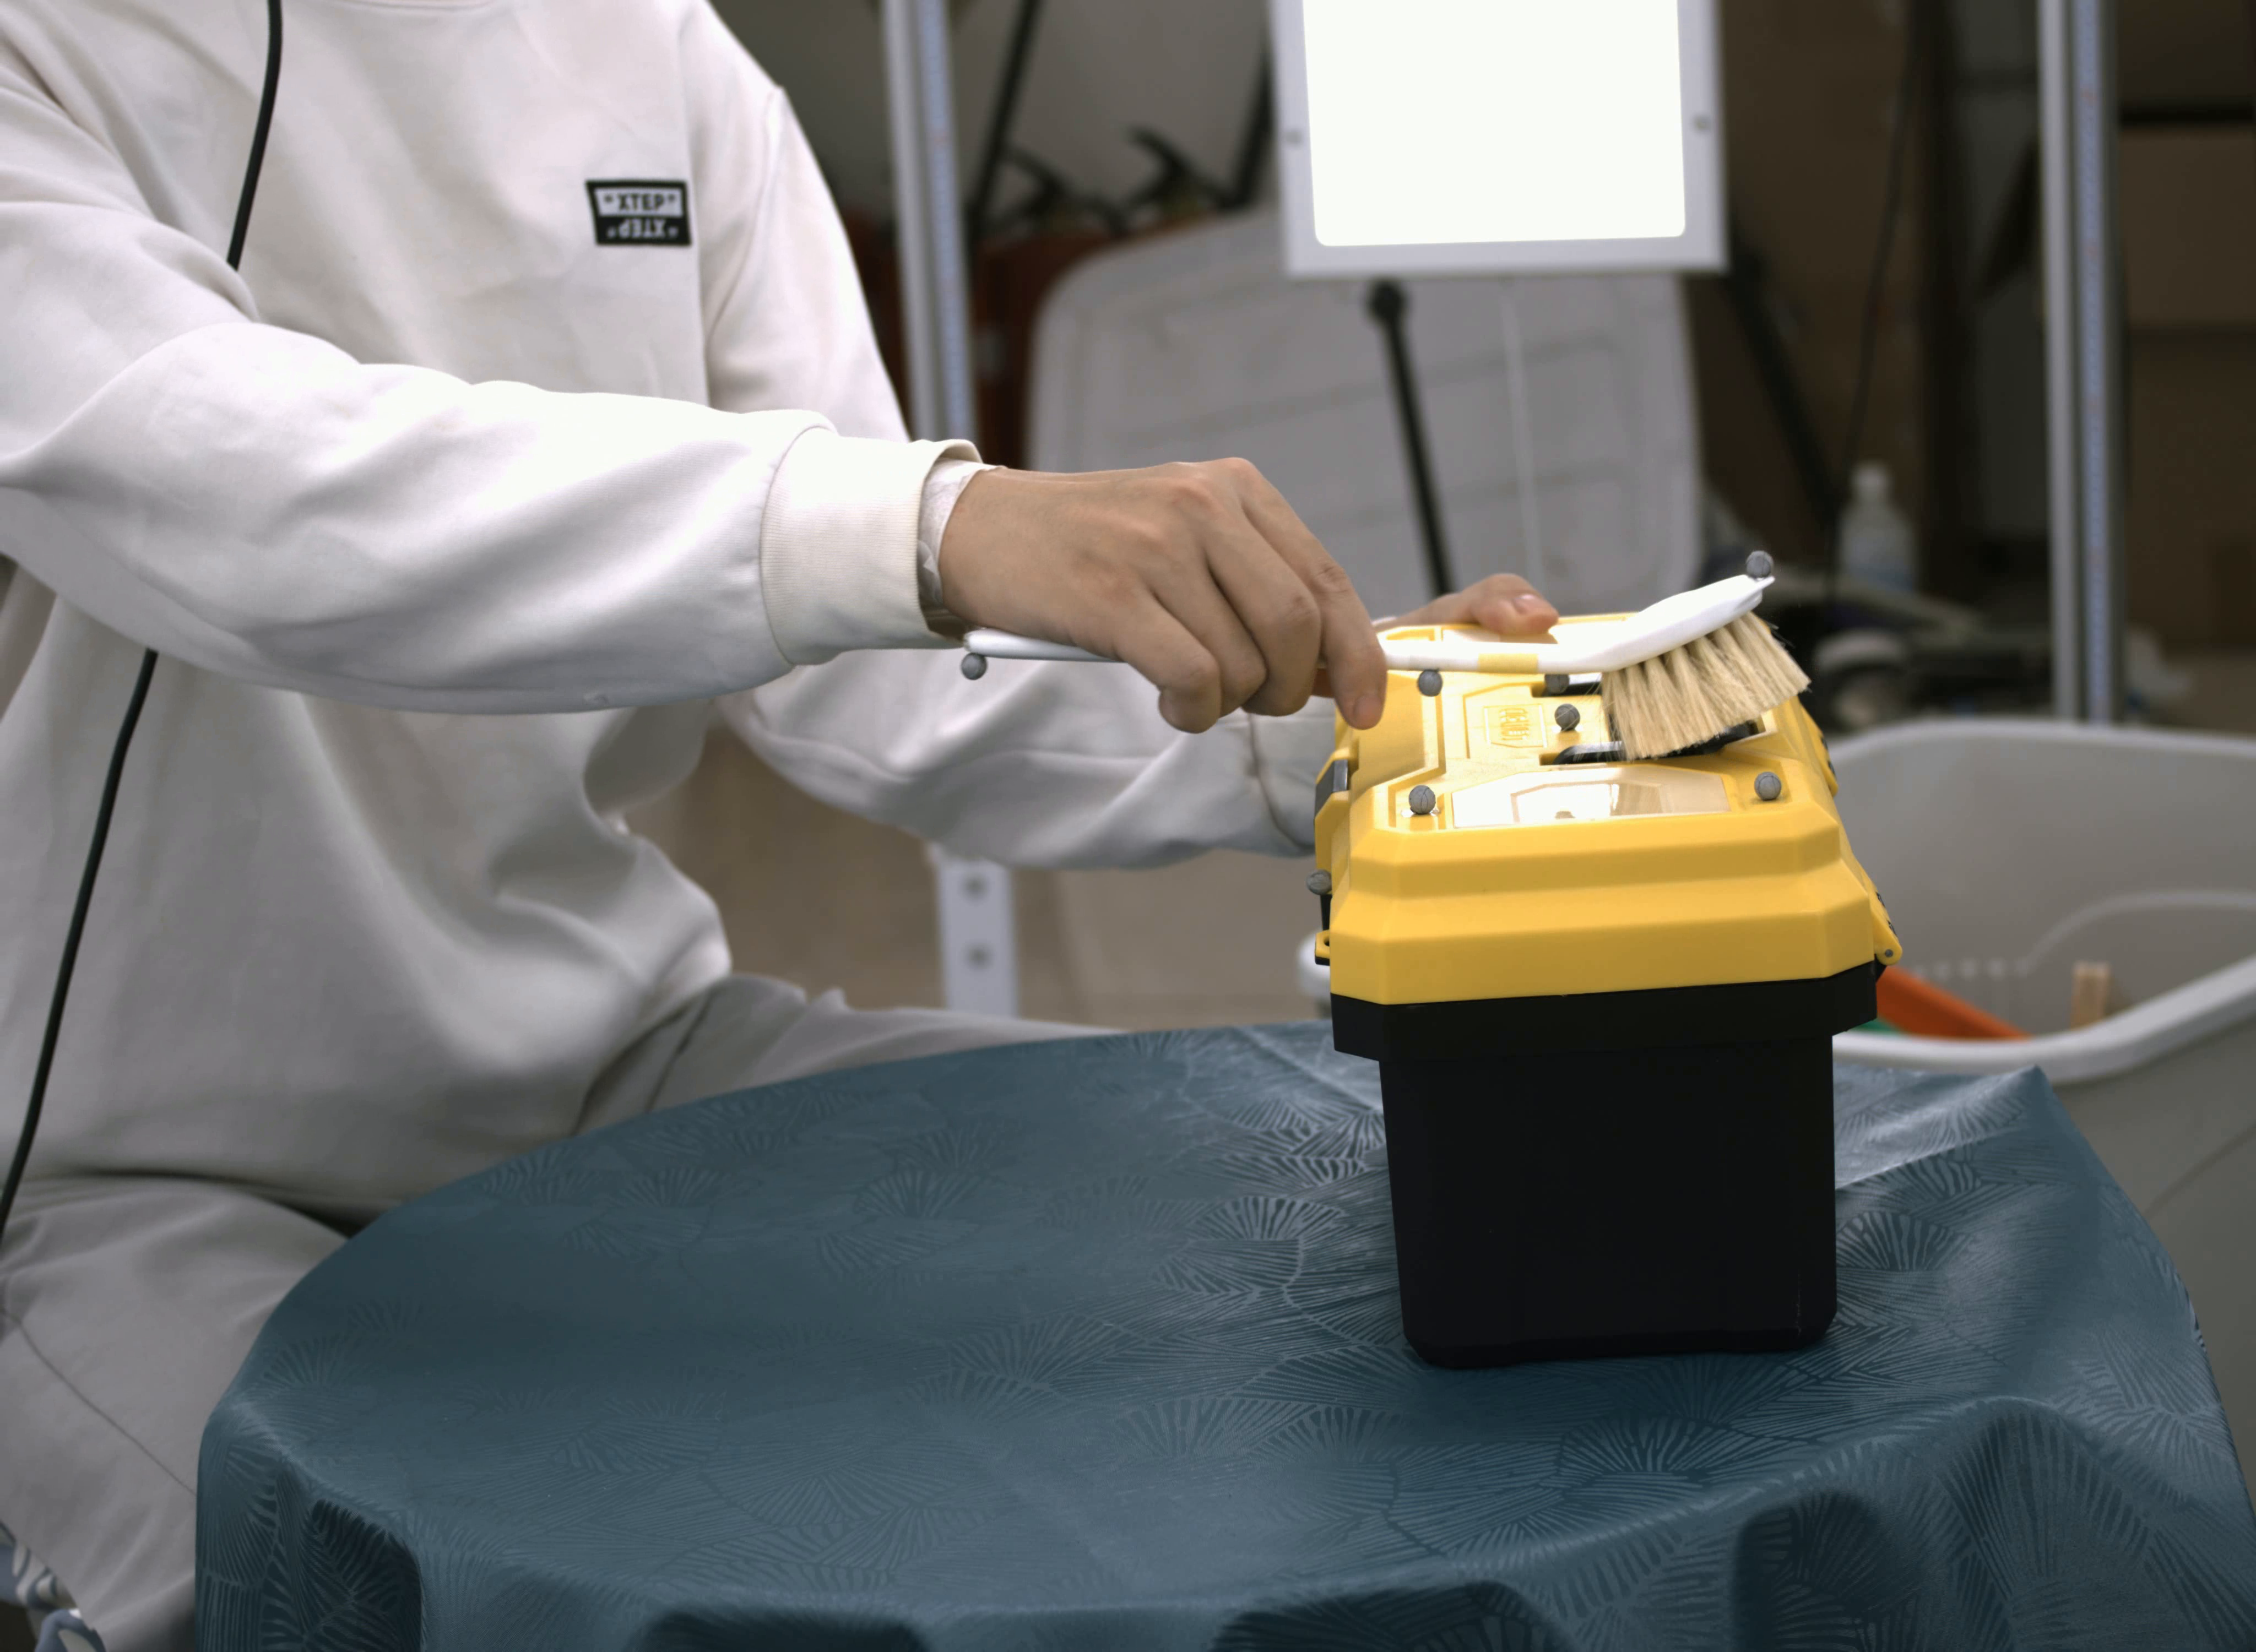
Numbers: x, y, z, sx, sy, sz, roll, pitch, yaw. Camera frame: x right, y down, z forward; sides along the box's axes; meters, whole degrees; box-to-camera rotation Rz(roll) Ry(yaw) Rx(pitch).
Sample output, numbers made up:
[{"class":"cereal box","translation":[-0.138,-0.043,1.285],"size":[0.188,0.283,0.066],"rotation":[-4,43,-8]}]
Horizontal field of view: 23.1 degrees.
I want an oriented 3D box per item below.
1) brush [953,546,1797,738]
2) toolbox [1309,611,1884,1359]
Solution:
[{"class":"brush","translation":[0.079,-0.050,1.746],"size":[0.266,0.056,0.068],"rotation":[-5,2,2]},{"class":"toolbox","translation":[0.152,0.044,1.813],"size":[0.181,0.173,0.349],"rotation":[-3,13,4]}]
